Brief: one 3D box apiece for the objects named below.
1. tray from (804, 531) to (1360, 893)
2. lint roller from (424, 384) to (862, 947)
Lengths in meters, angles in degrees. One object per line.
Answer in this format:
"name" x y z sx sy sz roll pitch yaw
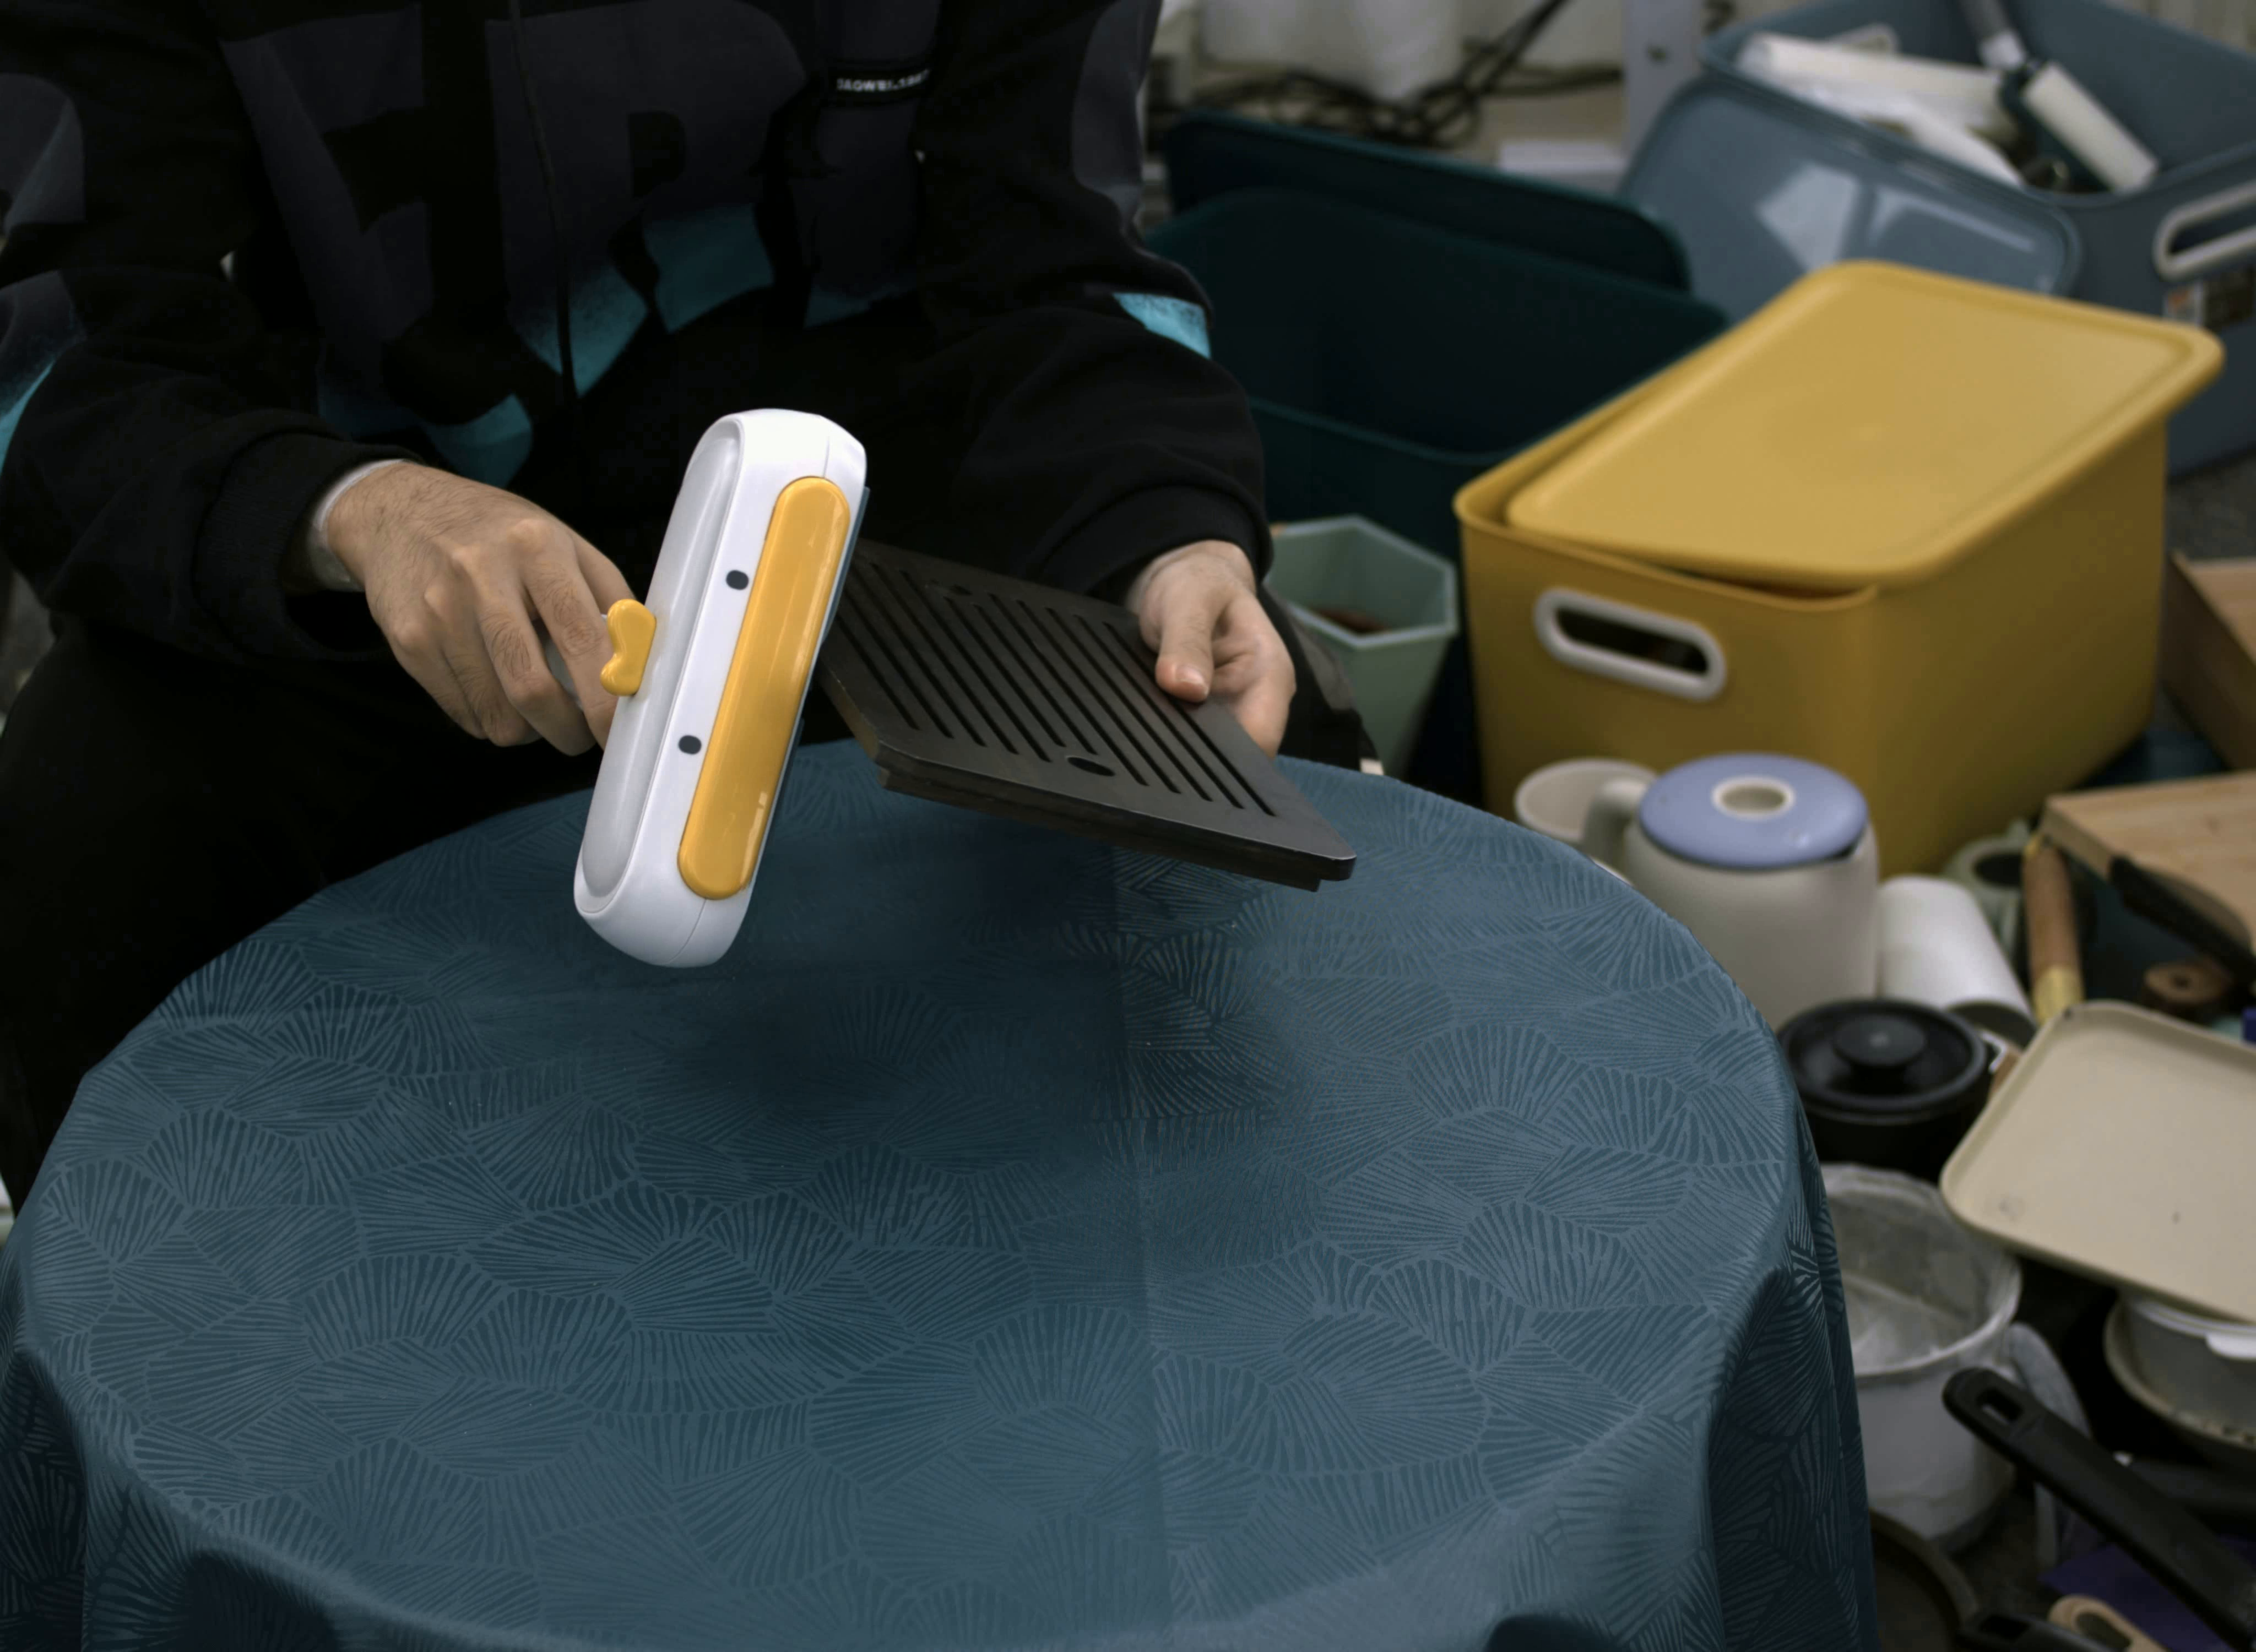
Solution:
"tray" -0.037 -0.045 1.955 0.170 0.018 0.308 14 14 -19
"lint roller" -0.173 -0.054 1.928 0.074 0.195 0.190 16 -12 -33
